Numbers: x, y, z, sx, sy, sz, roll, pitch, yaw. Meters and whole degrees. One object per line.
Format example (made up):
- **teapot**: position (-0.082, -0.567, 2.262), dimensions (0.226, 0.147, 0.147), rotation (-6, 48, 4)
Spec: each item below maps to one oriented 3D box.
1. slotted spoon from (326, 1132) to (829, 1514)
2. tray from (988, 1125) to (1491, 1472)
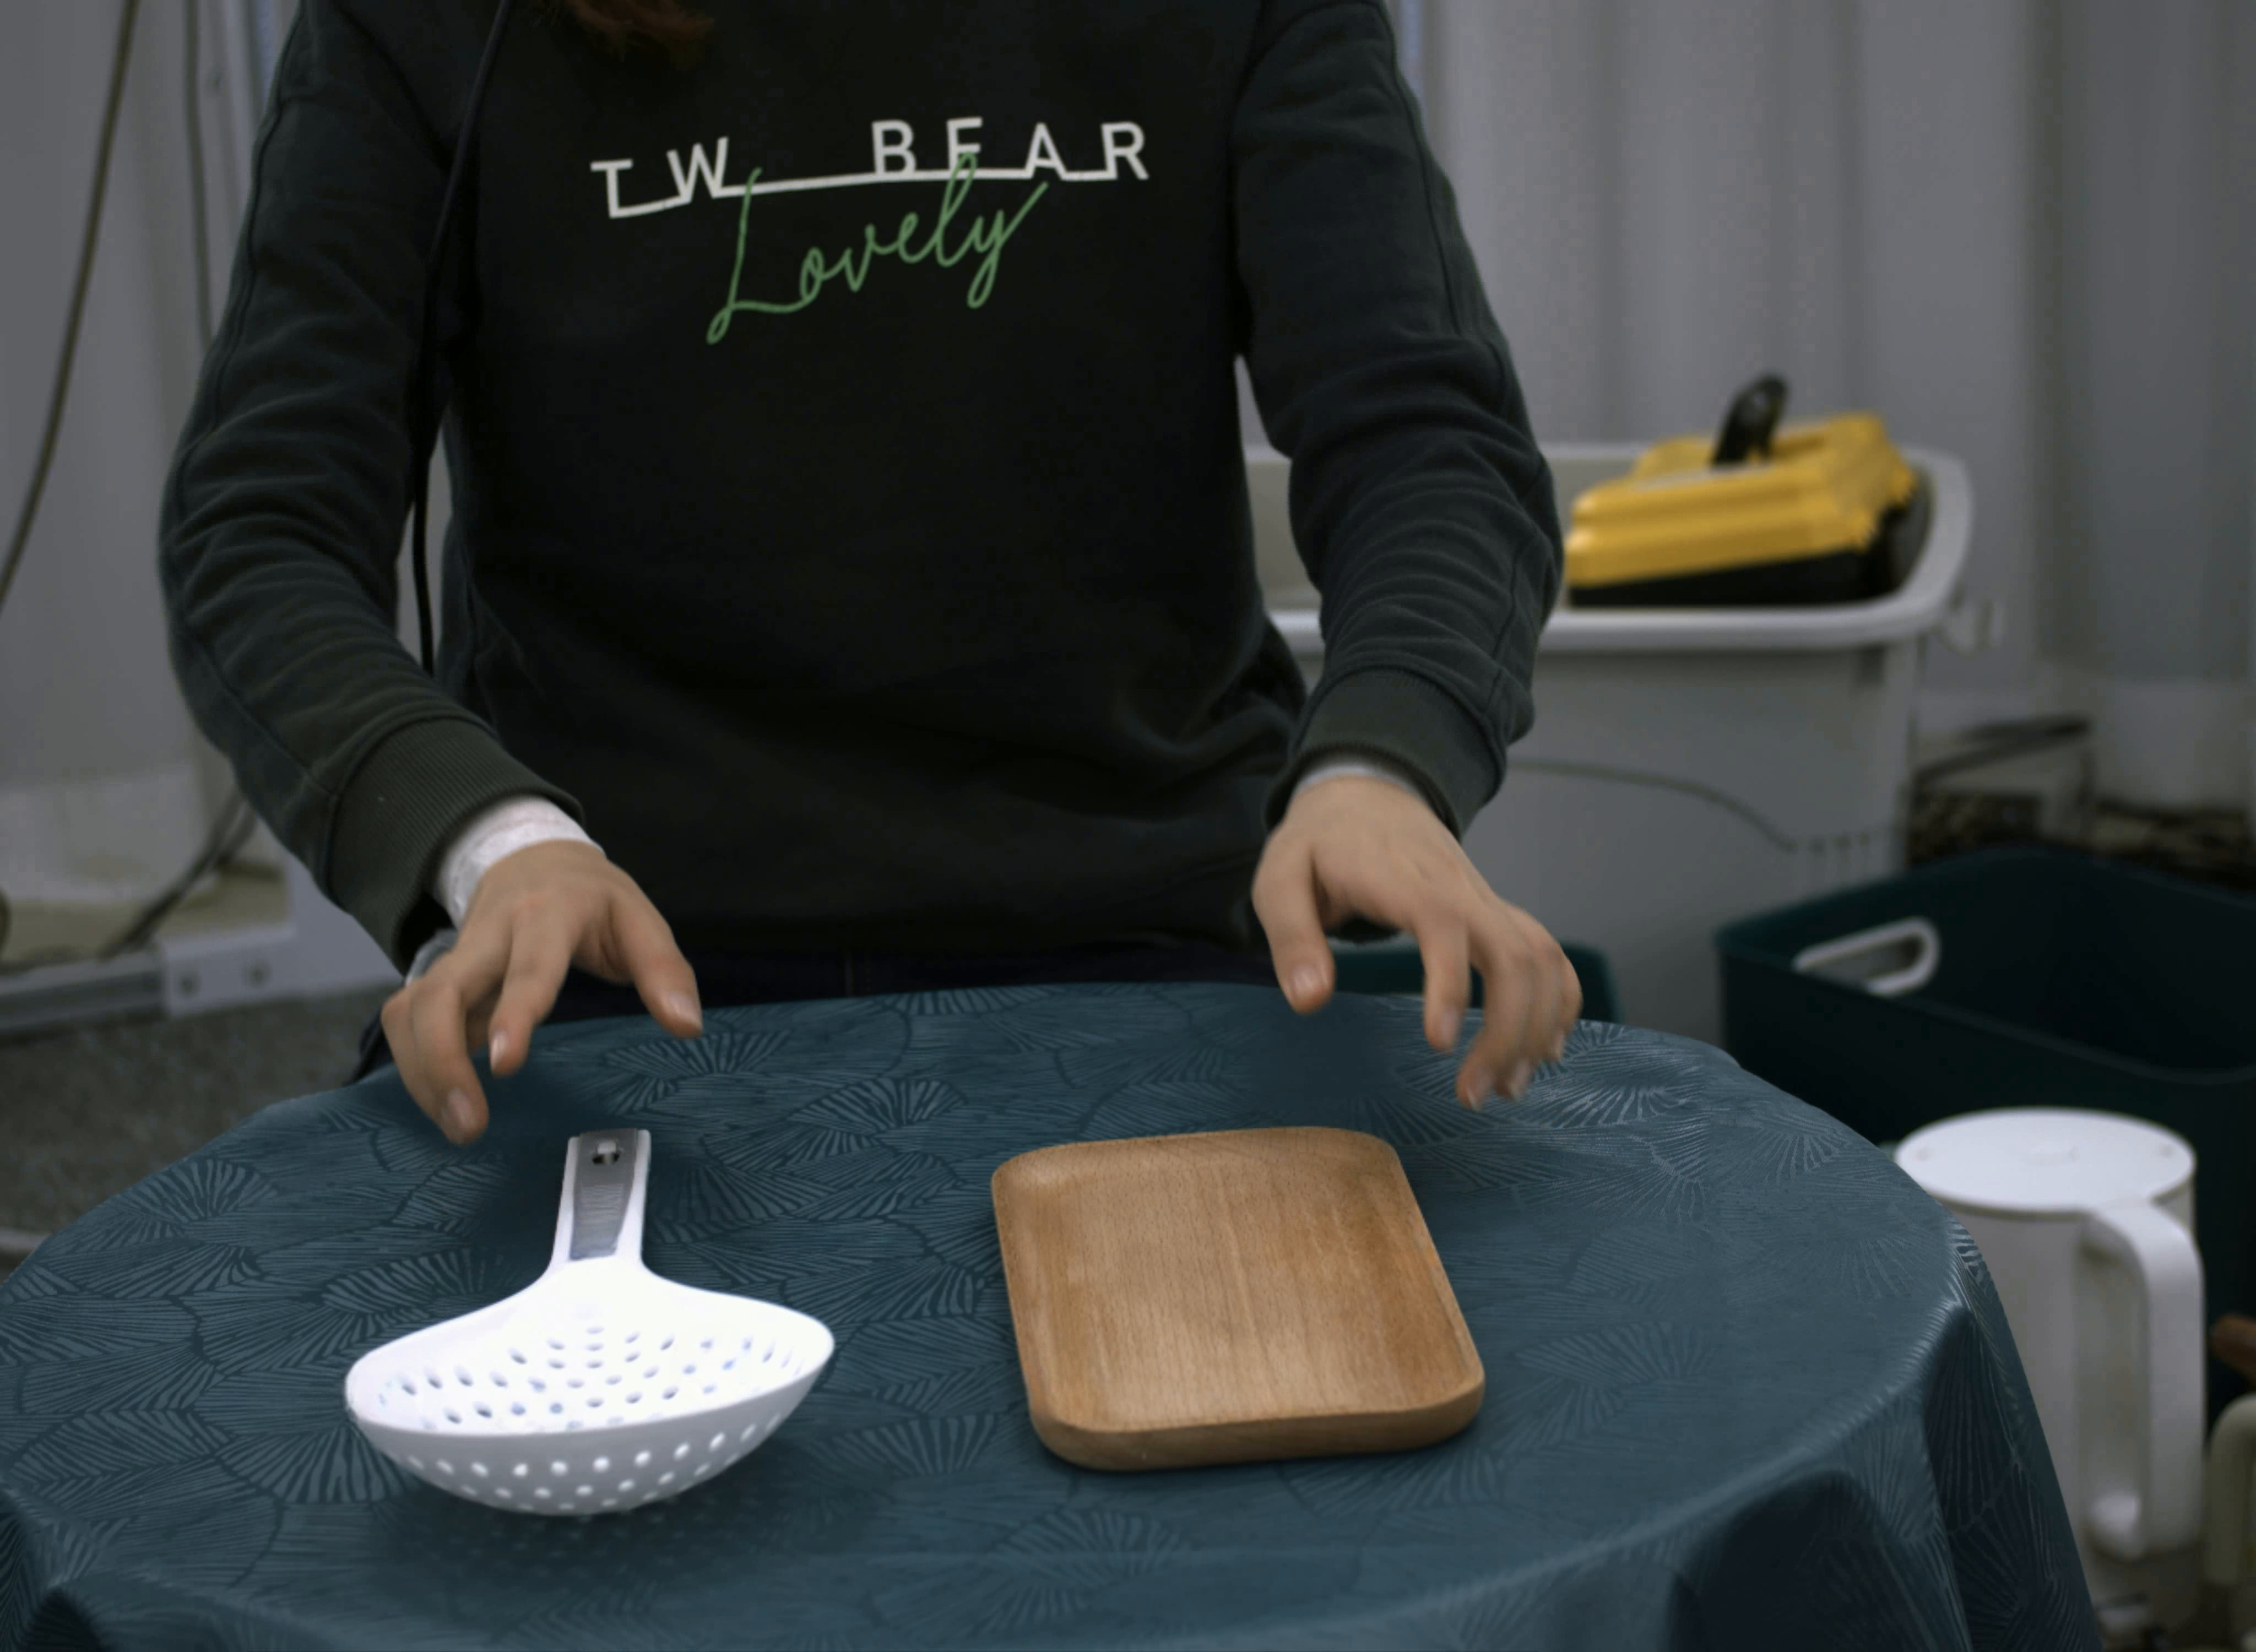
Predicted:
- **slotted spoon**: position (-0.154, 0.134, 1.583), dimensions (0.135, 0.045, 0.352), rotation (-4, 14, -3)
- **tray**: position (0.029, 0.135, 1.600), dimensions (0.130, 0.023, 0.252), rotation (-2, 14, -4)
